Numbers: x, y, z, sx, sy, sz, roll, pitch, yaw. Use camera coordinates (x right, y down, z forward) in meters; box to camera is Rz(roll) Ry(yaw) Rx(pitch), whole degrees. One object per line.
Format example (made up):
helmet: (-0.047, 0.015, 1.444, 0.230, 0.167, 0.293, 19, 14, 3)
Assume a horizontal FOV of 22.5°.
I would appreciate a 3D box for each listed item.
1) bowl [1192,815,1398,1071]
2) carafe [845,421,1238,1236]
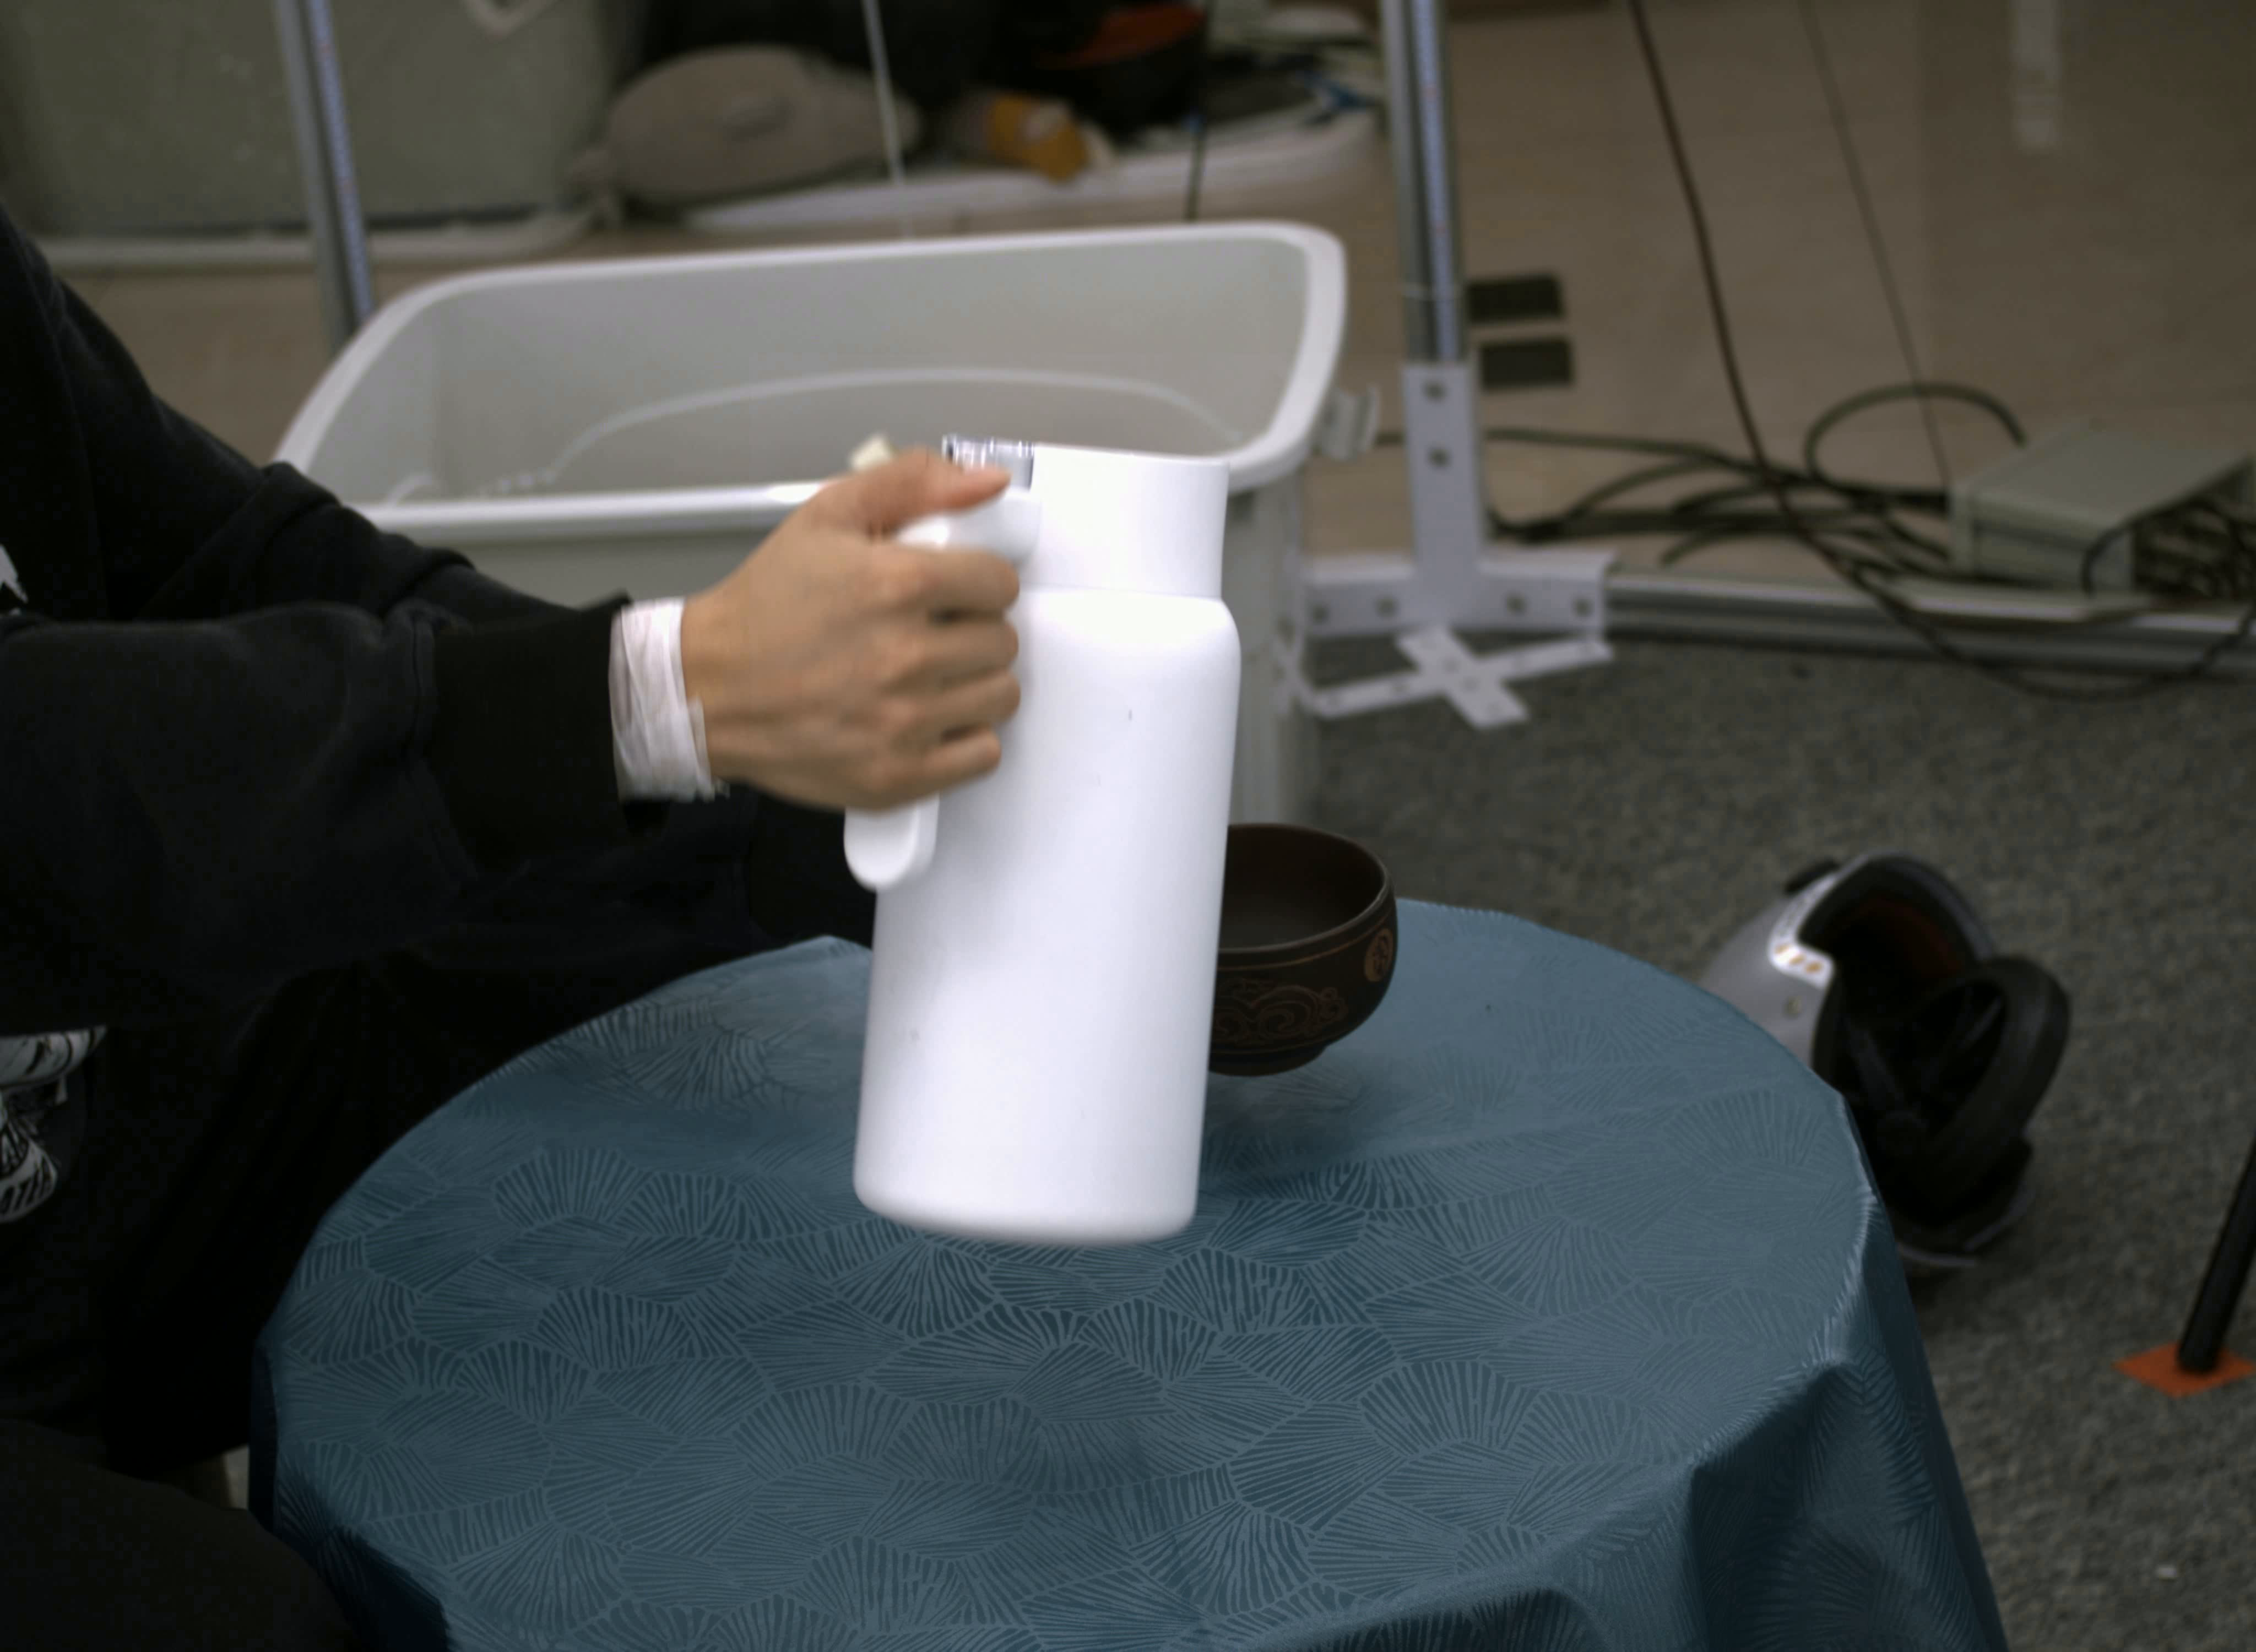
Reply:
bowl: (0.046, 0.051, 2.177, 0.118, 0.071, 0.116, -4, 26, 2)
carafe: (-0.034, 0.001, 1.905, 0.123, 0.270, 0.173, 10, 5, 31)
